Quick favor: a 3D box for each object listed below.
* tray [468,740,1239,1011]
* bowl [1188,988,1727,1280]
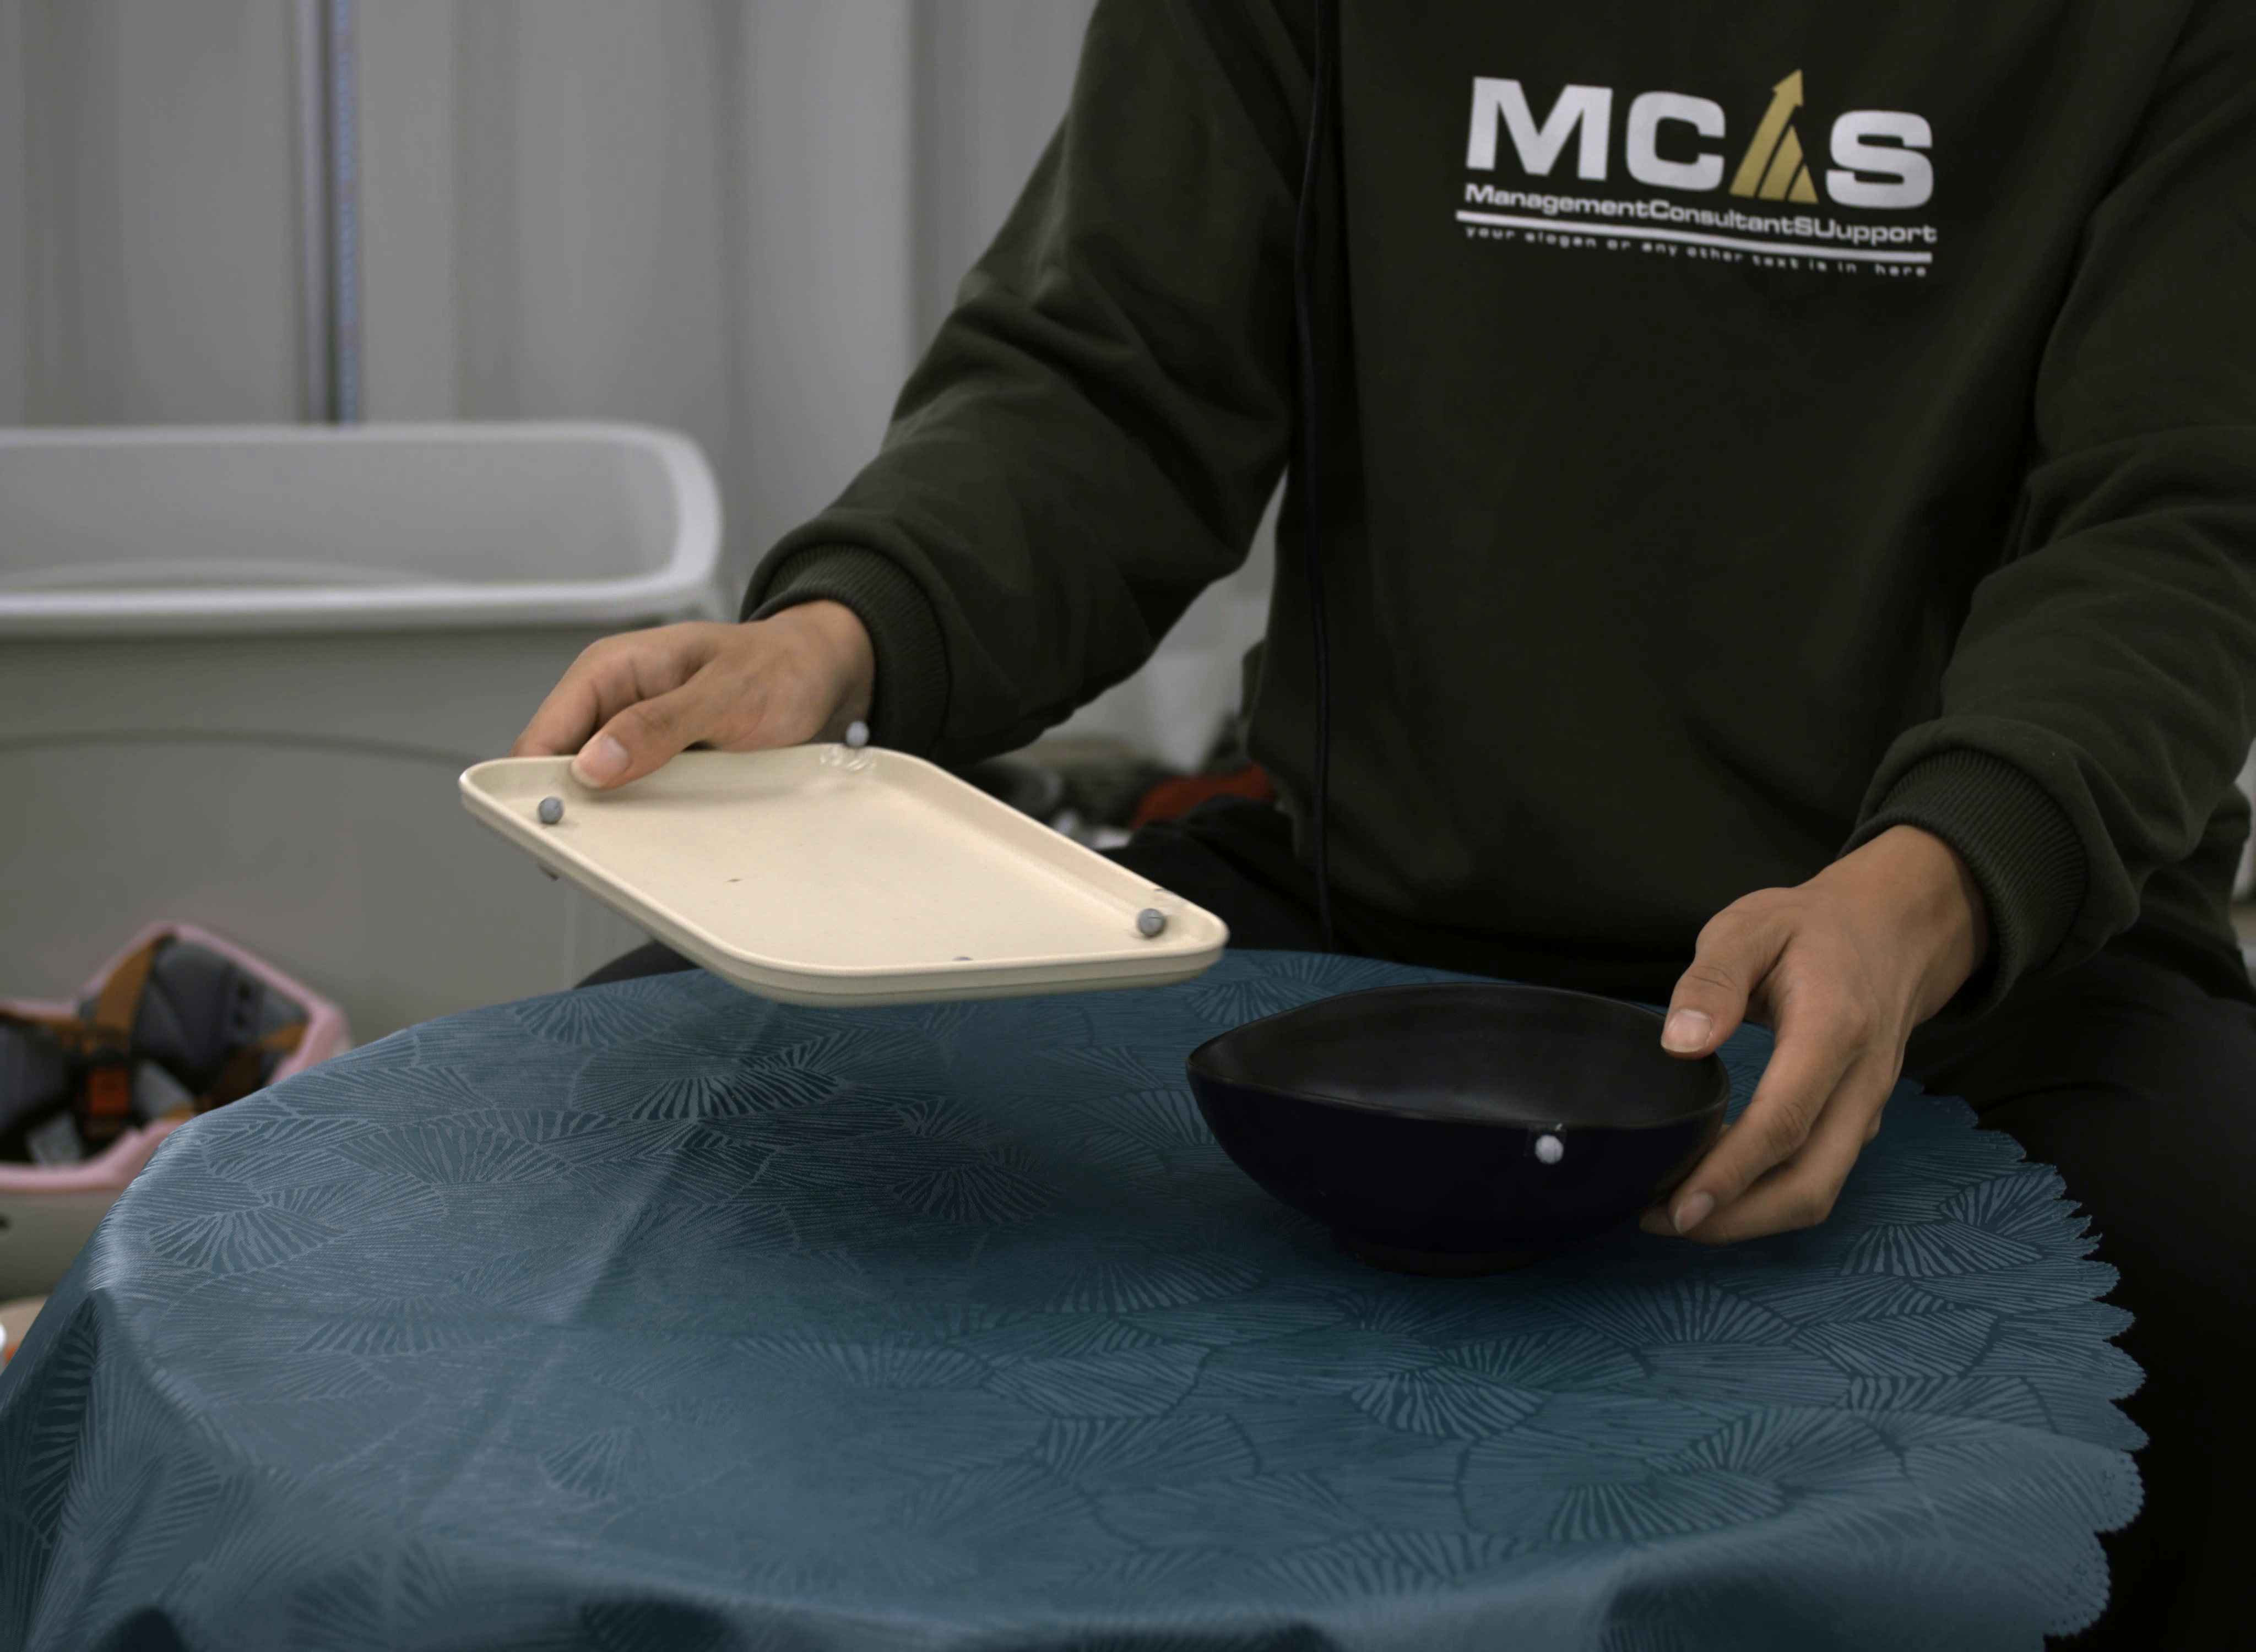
[{"bbox_3d":[-0.089,0.014,1.640,0.172,0.017,0.236,-4,18,-33],"label":"tray"},{"bbox_3d":[0.096,0.096,1.581,0.168,0.067,0.138,7,15,27],"label":"bowl"}]
